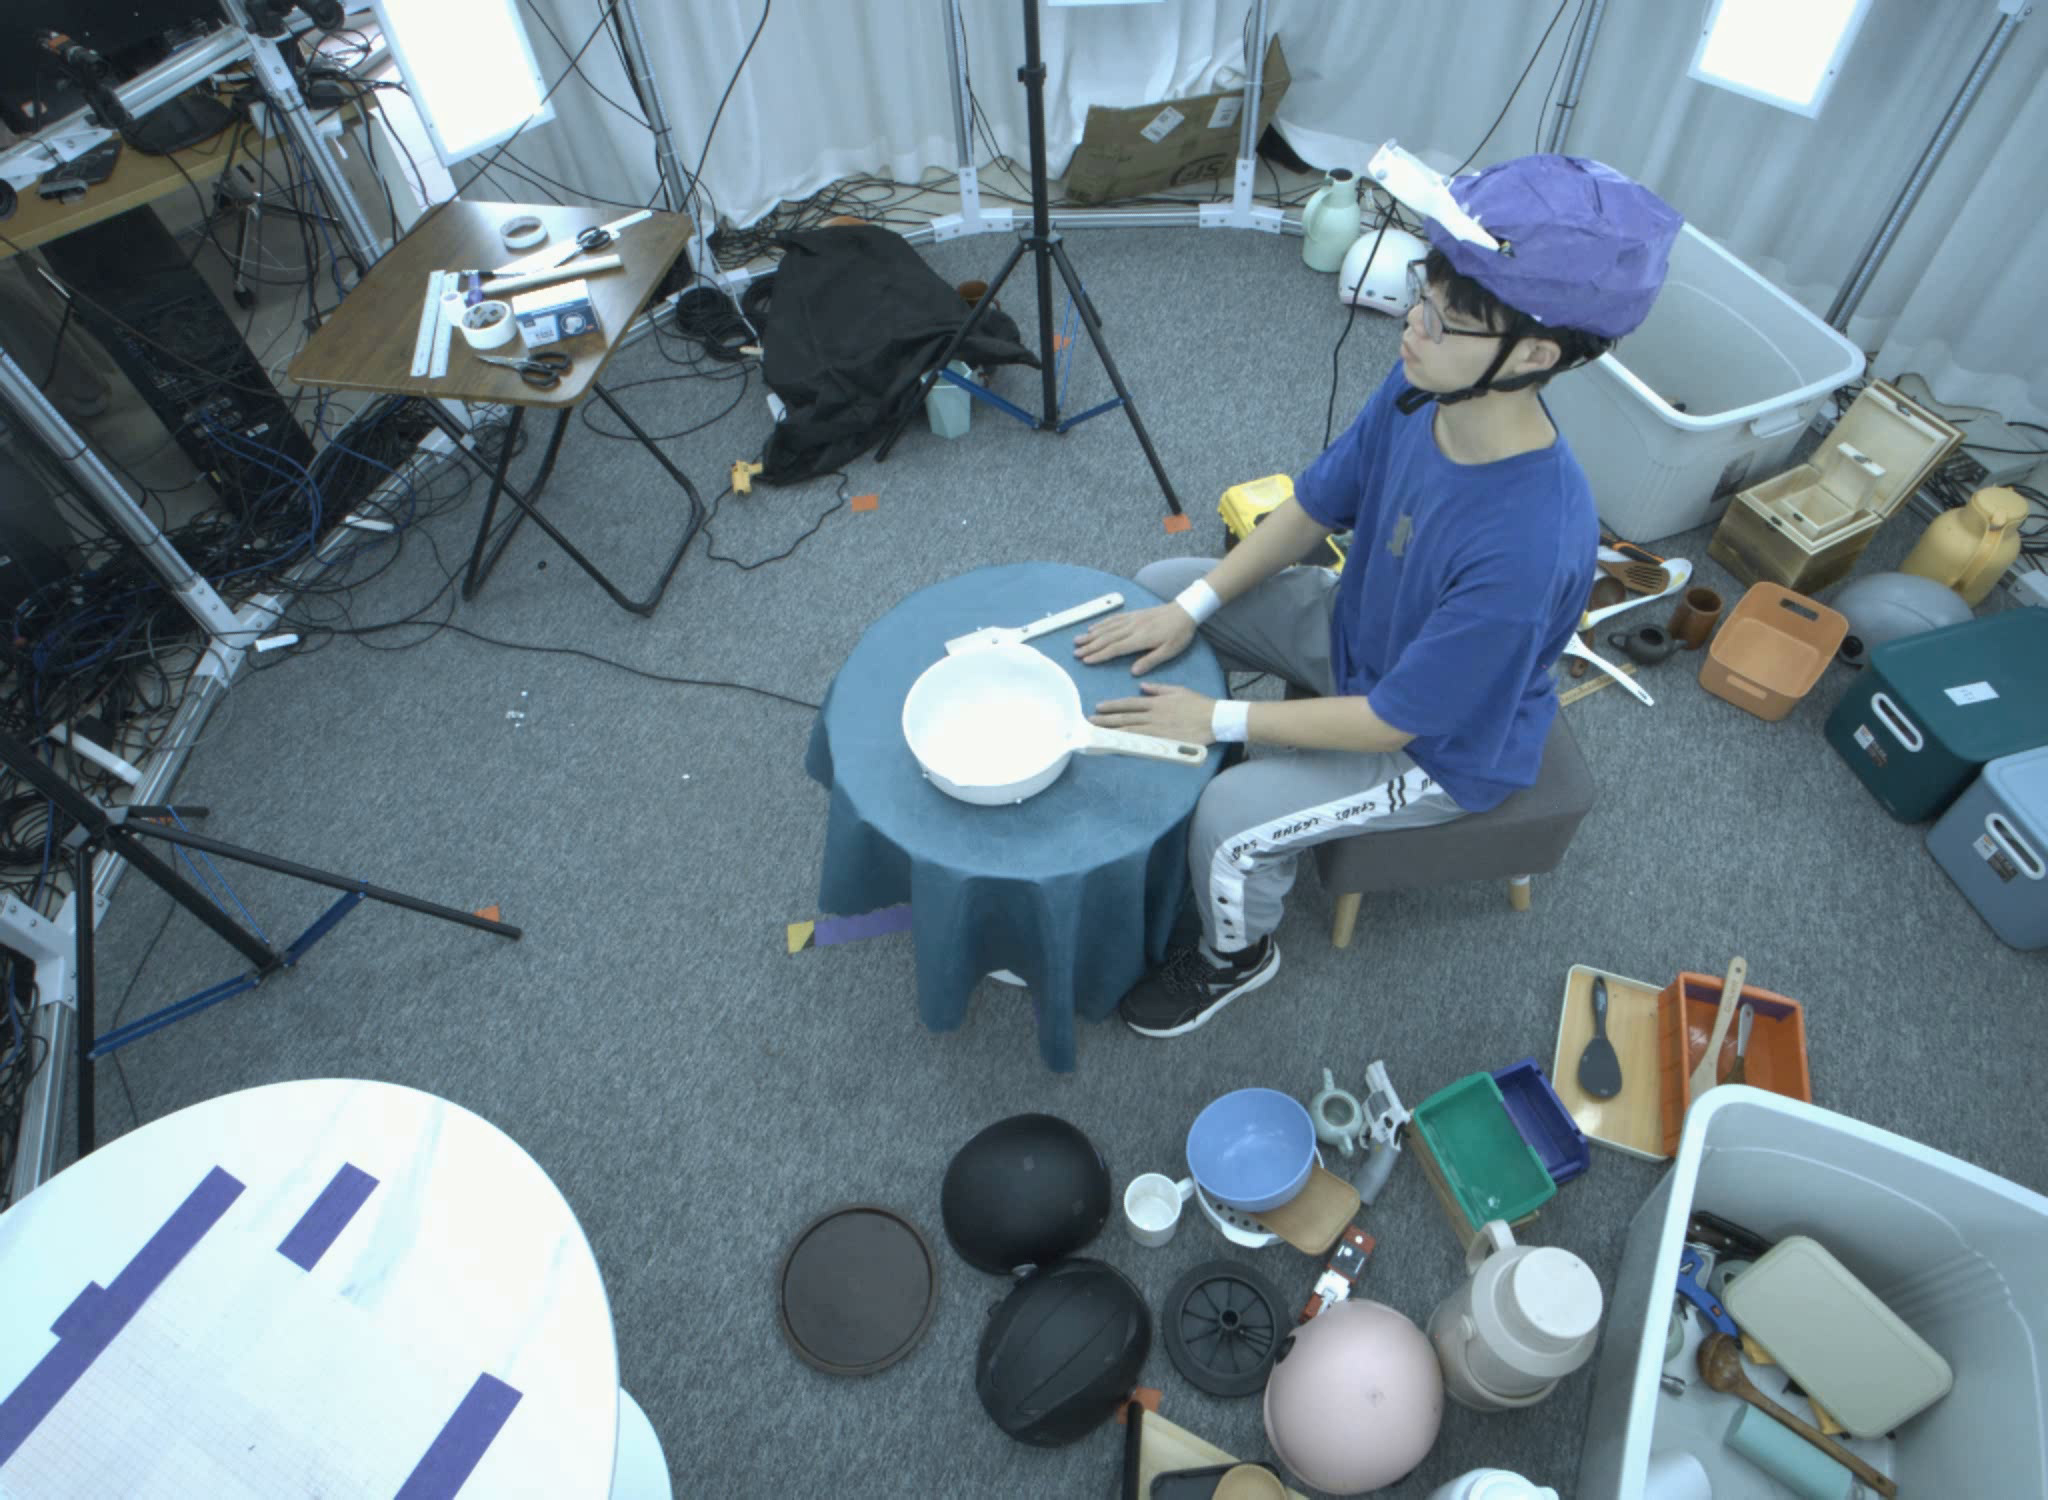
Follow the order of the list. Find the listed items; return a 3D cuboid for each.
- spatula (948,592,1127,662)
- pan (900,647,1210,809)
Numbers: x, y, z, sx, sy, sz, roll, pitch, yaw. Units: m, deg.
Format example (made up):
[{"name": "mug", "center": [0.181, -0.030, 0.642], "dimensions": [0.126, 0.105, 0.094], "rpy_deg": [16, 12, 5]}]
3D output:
[{"name": "spatula", "center": [0.026, -0.191, 1.908], "dimensions": [0.295, 0.011, 0.071], "rpy_deg": [-21, 55, -12]}, {"name": "pan", "center": [0.042, -0.009, 1.722], "dimensions": [0.431, 0.103, 0.262], "rpy_deg": [13, 54, 11]}]
